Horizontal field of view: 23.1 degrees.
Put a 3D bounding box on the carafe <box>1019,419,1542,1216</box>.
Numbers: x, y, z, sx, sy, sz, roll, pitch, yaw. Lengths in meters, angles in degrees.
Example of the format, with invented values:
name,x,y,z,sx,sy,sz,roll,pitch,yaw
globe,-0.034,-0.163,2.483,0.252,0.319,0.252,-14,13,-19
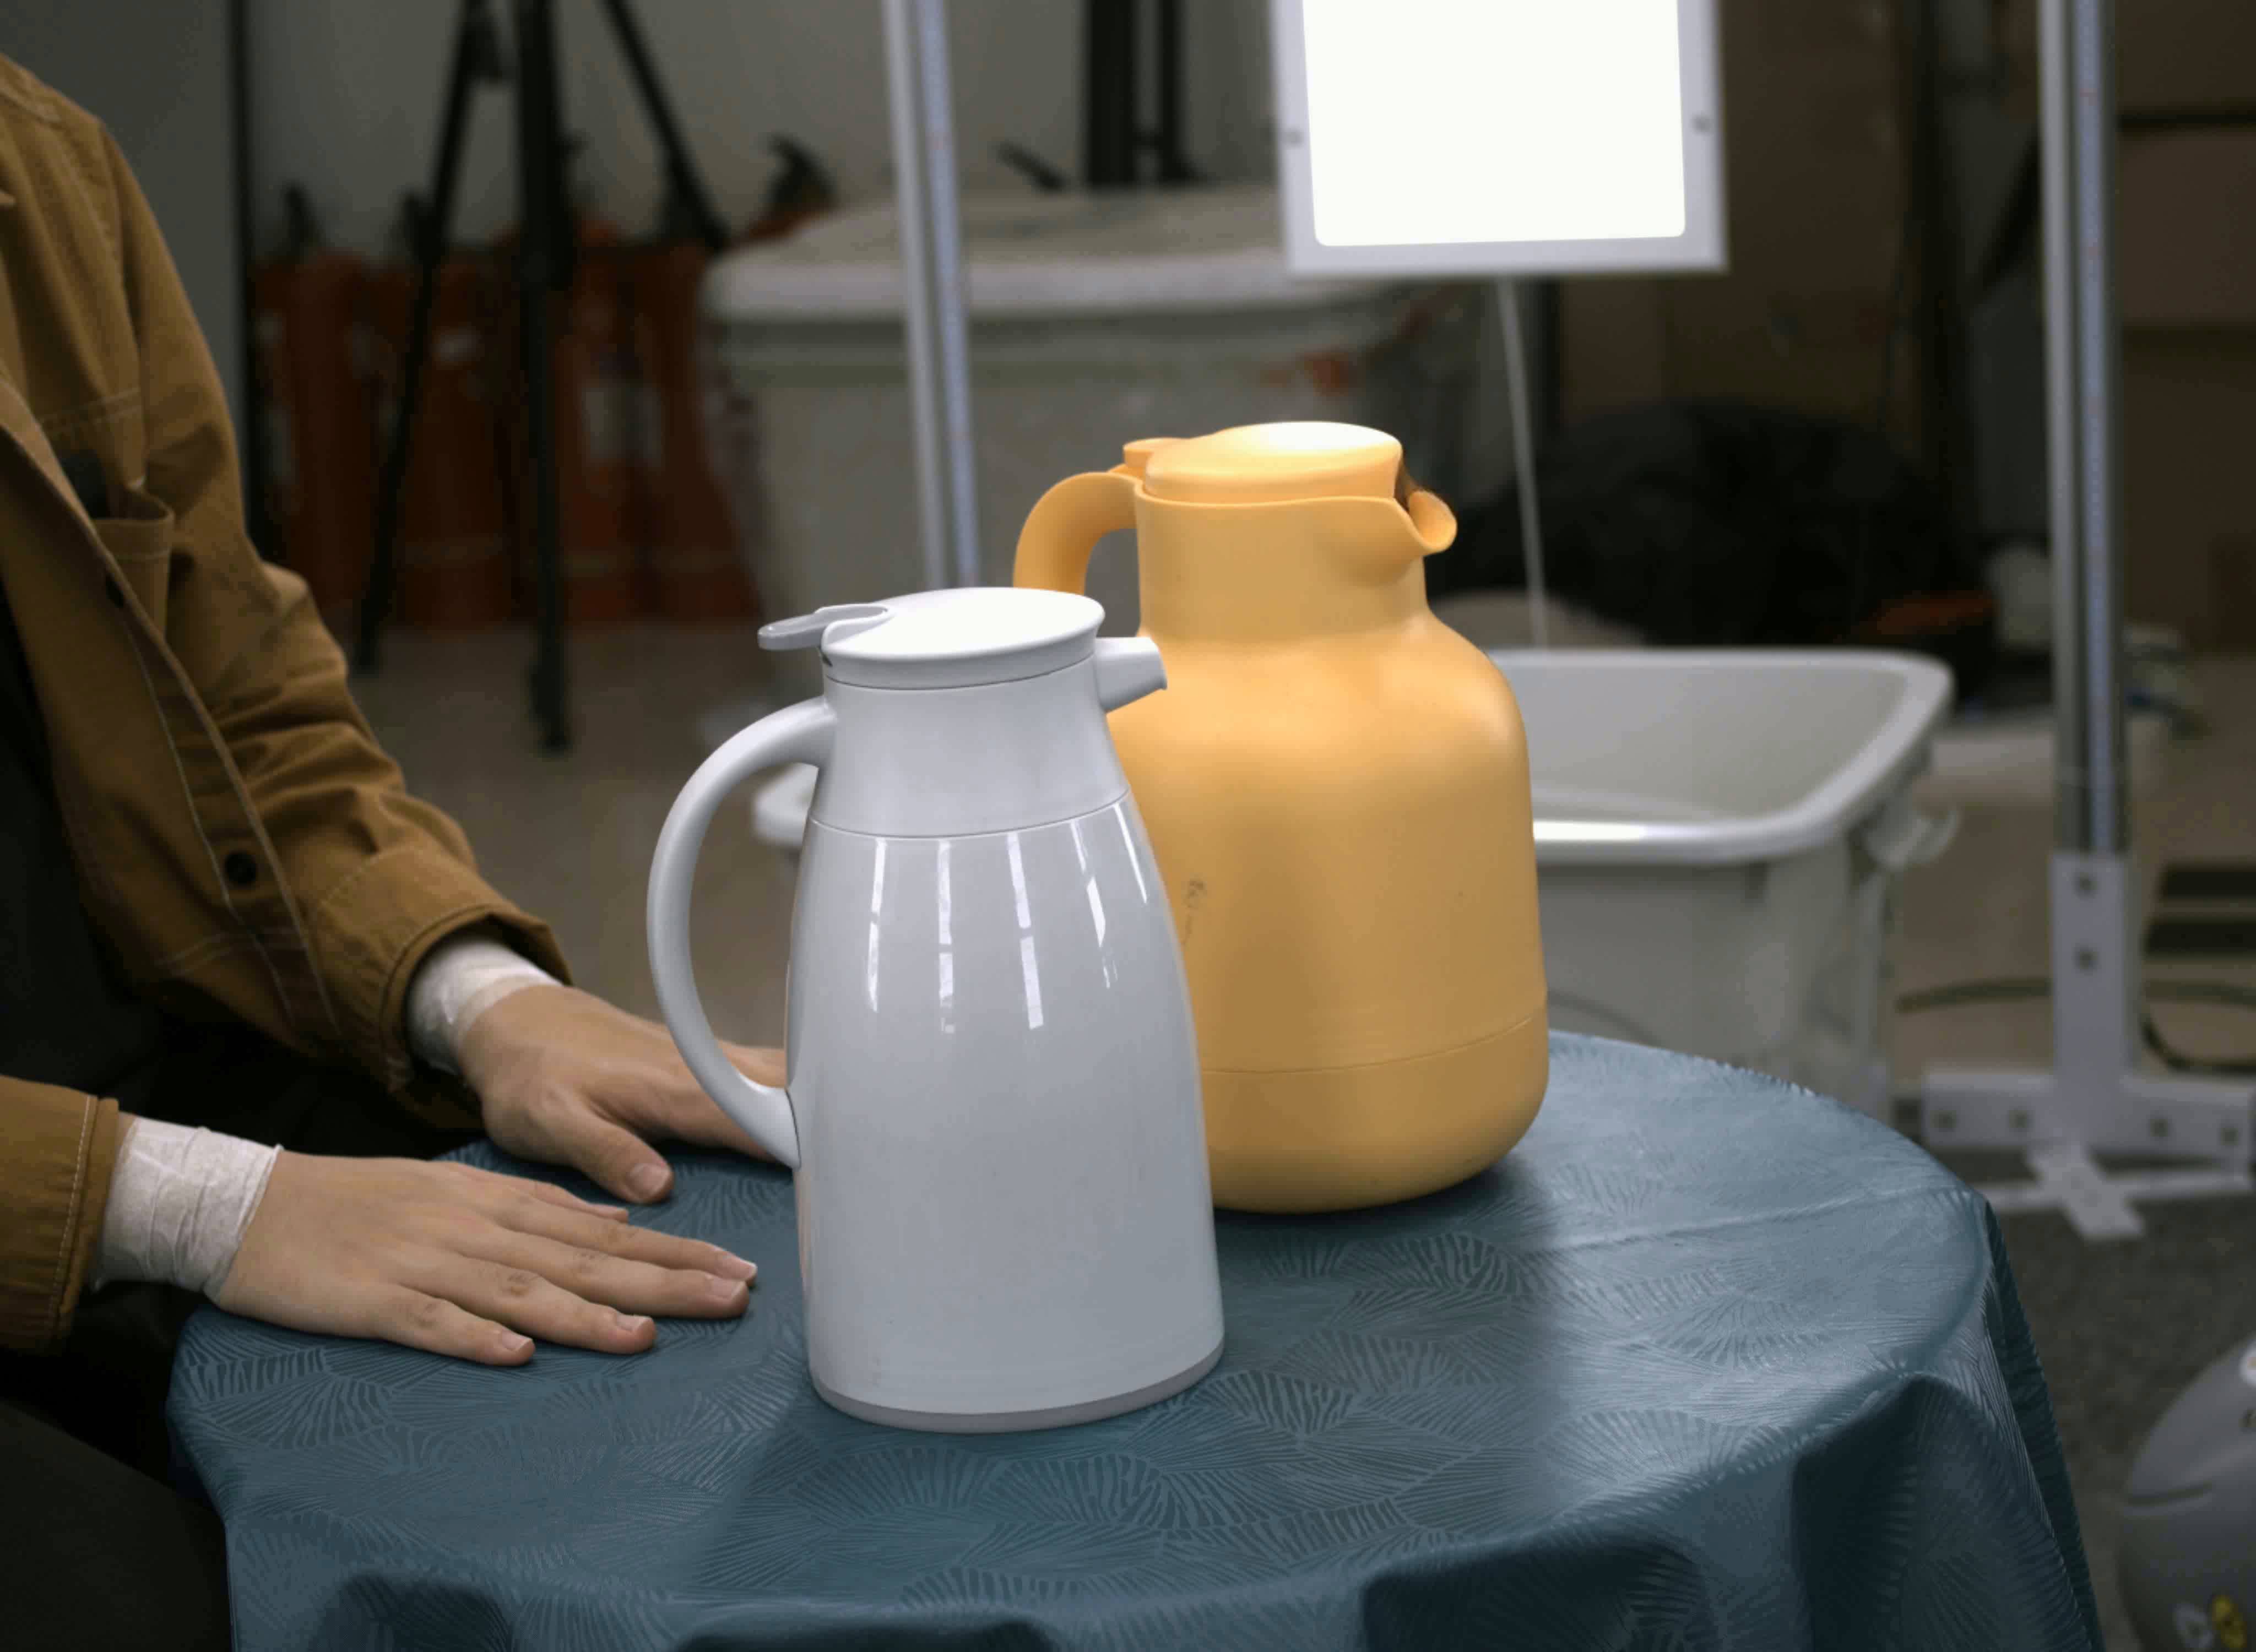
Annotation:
name,x,y,z,sx,sy,sz,roll,pitch,yaw
carafe,0.045,-0.010,1.893,0.159,0.261,0.207,-15,18,-40

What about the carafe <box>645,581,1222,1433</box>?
name,x,y,z,sx,sy,sz,roll,pitch,yaw
carafe,-0.063,0.052,1.705,0.166,0.249,0.133,-7,14,-7
